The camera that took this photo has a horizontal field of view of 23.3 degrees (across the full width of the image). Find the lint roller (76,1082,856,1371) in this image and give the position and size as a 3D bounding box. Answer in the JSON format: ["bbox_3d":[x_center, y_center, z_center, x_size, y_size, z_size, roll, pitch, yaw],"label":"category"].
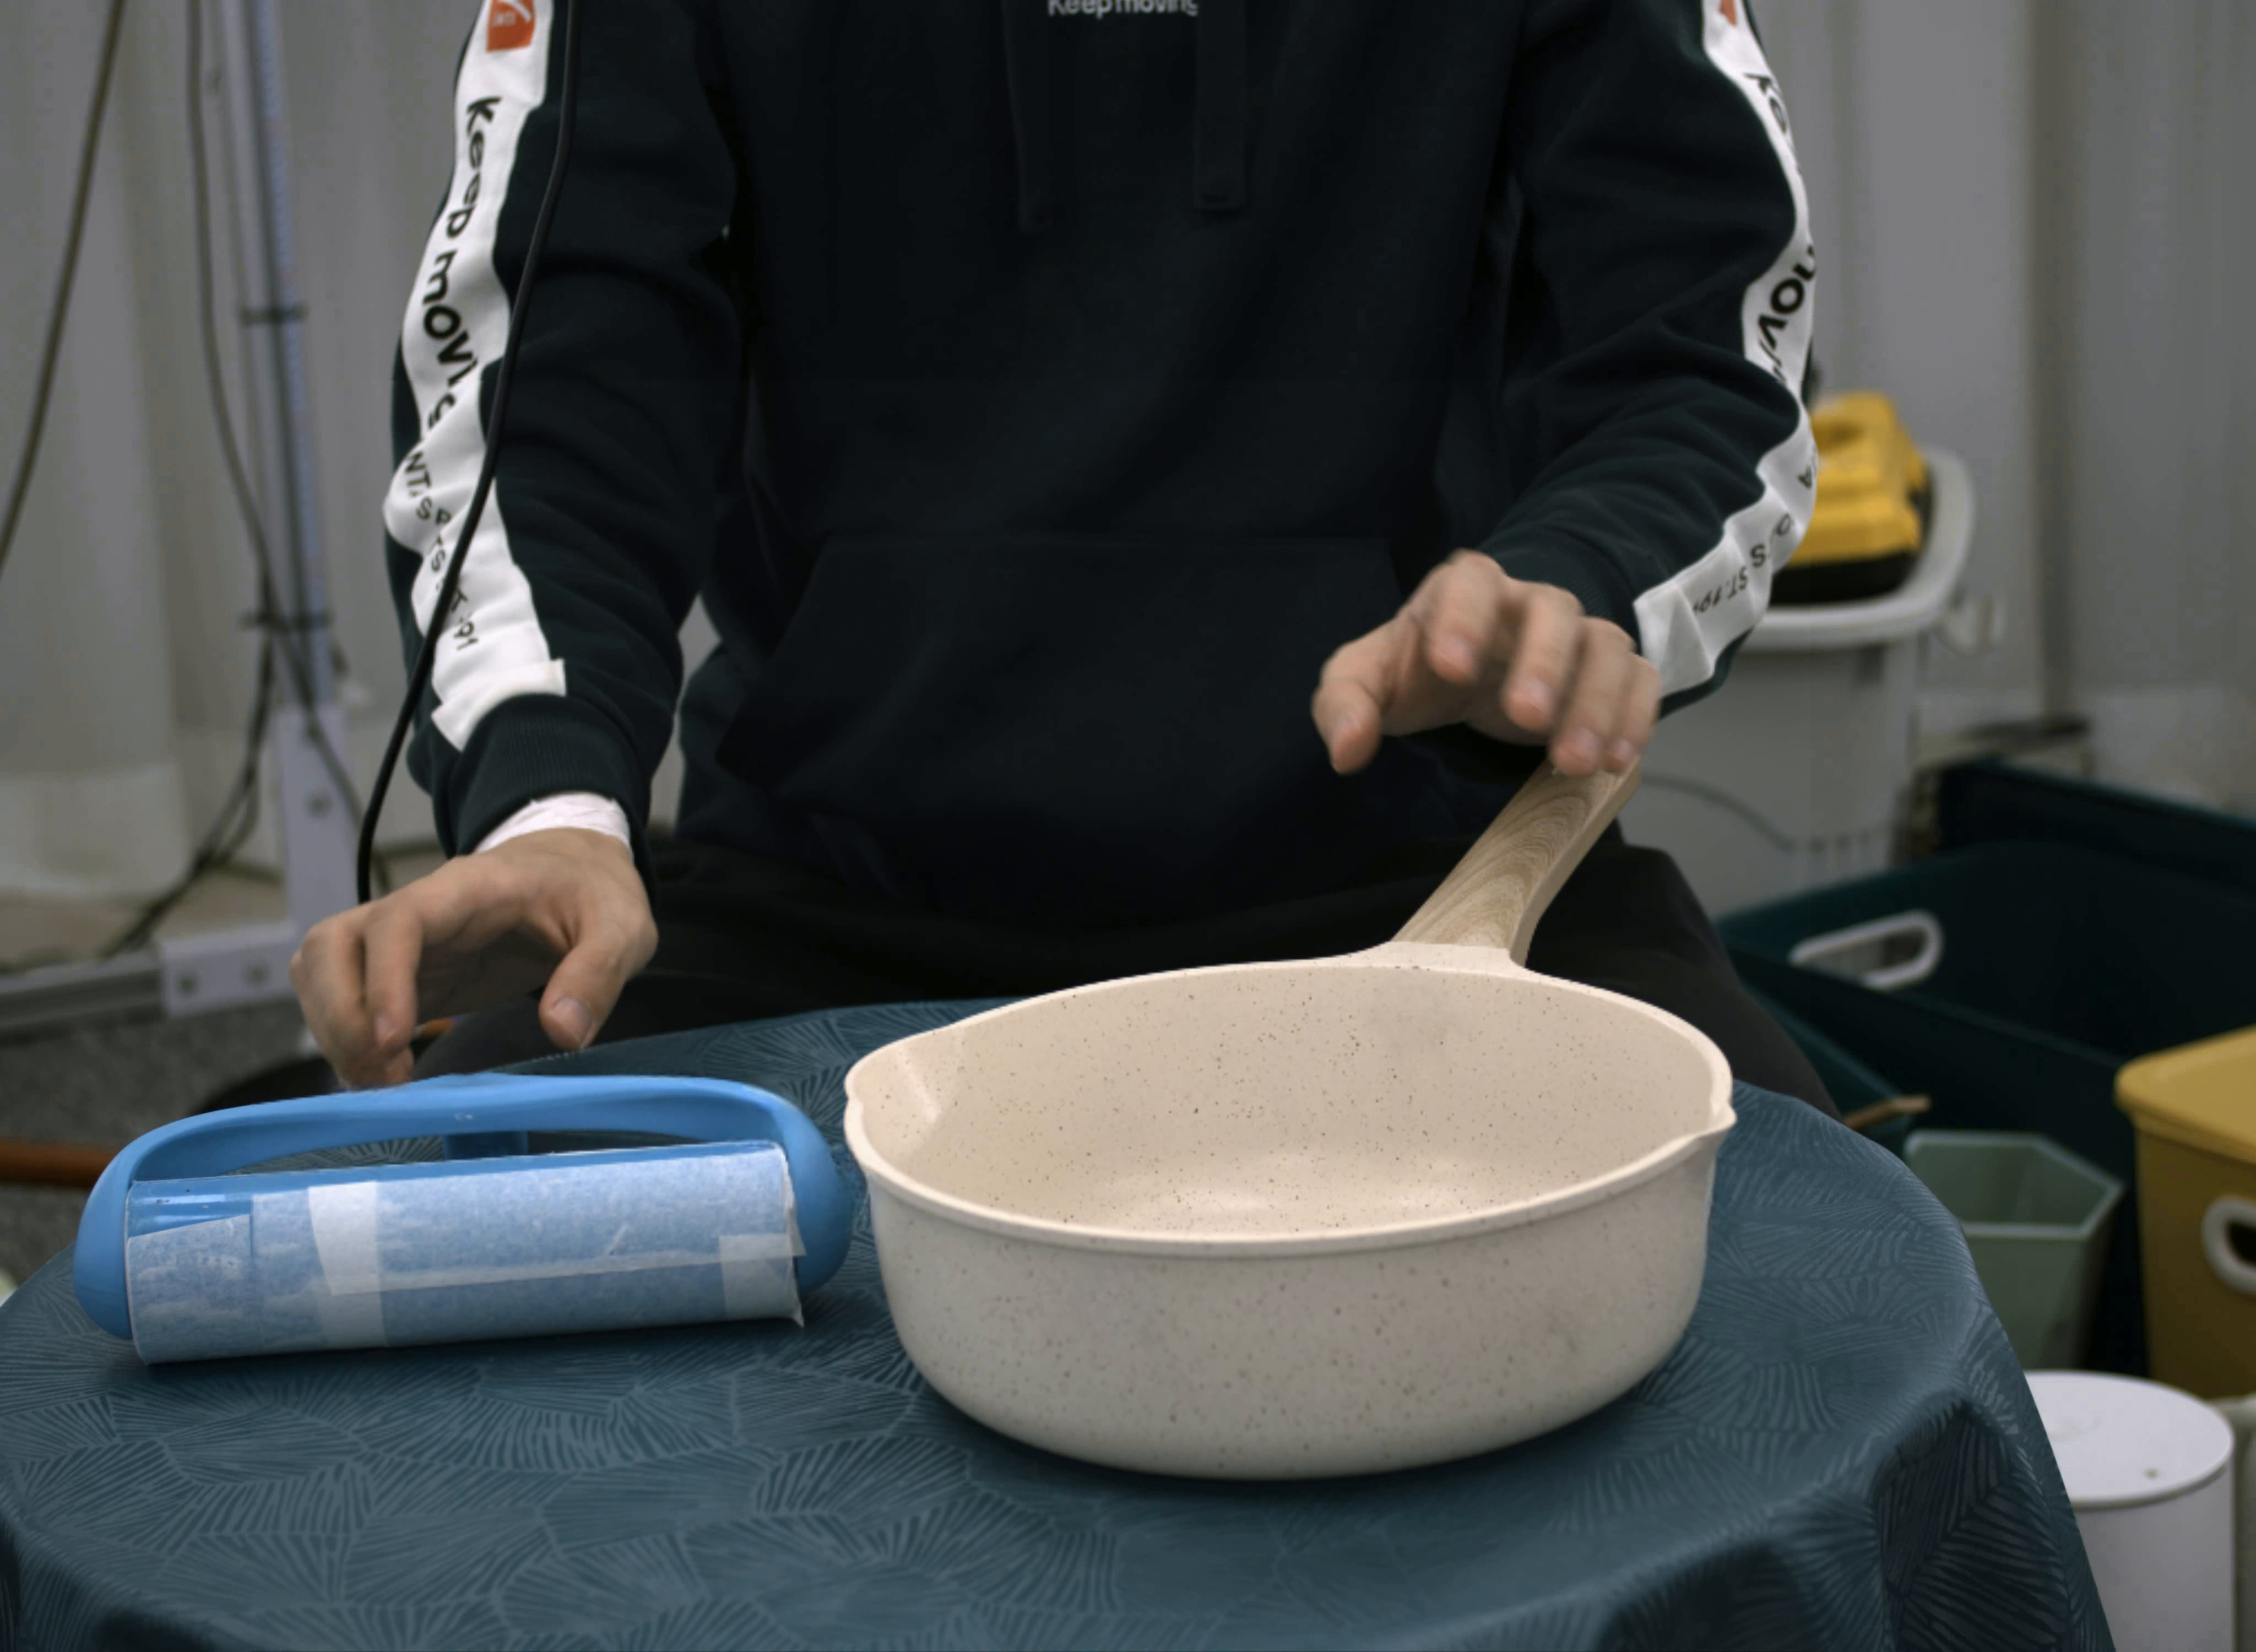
[{"bbox_3d":[-0.202,0.109,1.667,0.228,0.067,0.182,-6,16,-6],"label":"lint roller"}]

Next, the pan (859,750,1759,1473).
[{"bbox_3d":[0.083,0.080,1.631,0.263,0.101,0.436,1,16,21],"label":"pan"}]
